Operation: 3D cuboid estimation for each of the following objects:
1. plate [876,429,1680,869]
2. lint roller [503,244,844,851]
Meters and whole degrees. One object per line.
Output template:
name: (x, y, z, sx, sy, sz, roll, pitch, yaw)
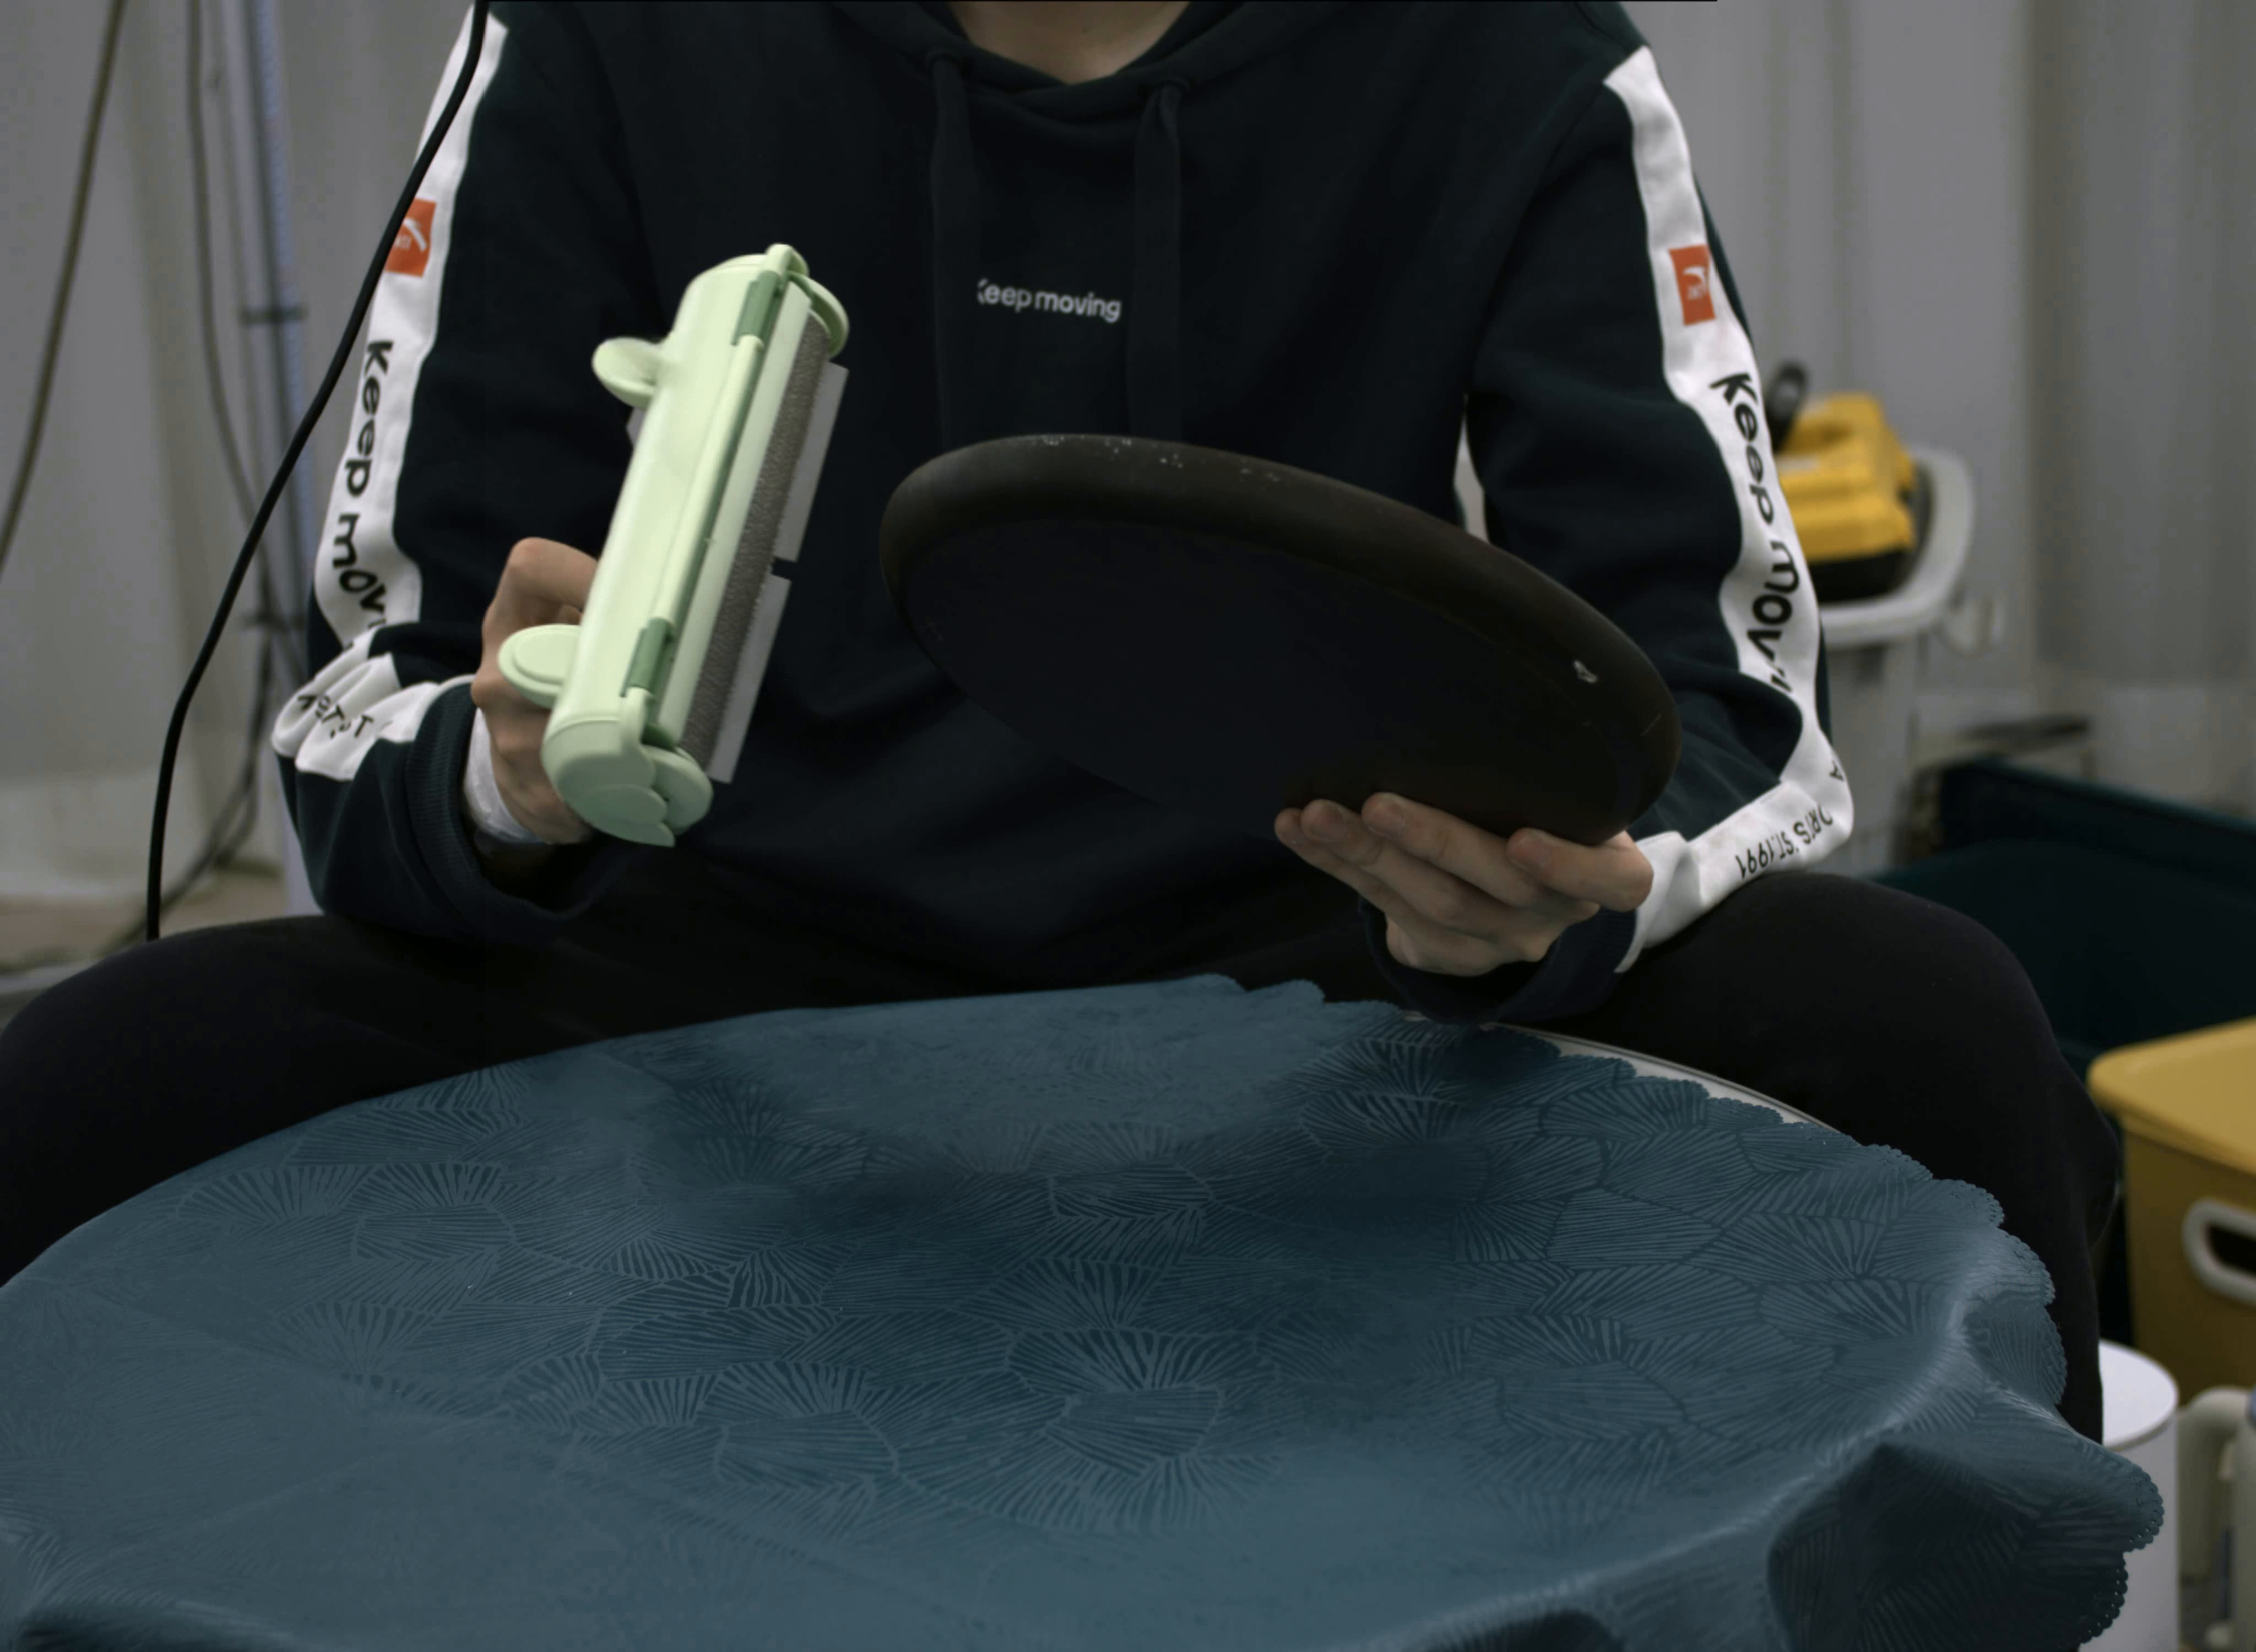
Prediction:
plate: (0.042, -0.048, 1.653, 0.254, 0.029, 0.252, 15, -20, 6)
lint roller: (-0.161, -0.067, 1.743, 0.081, 0.201, 0.182, 23, -34, -16)
